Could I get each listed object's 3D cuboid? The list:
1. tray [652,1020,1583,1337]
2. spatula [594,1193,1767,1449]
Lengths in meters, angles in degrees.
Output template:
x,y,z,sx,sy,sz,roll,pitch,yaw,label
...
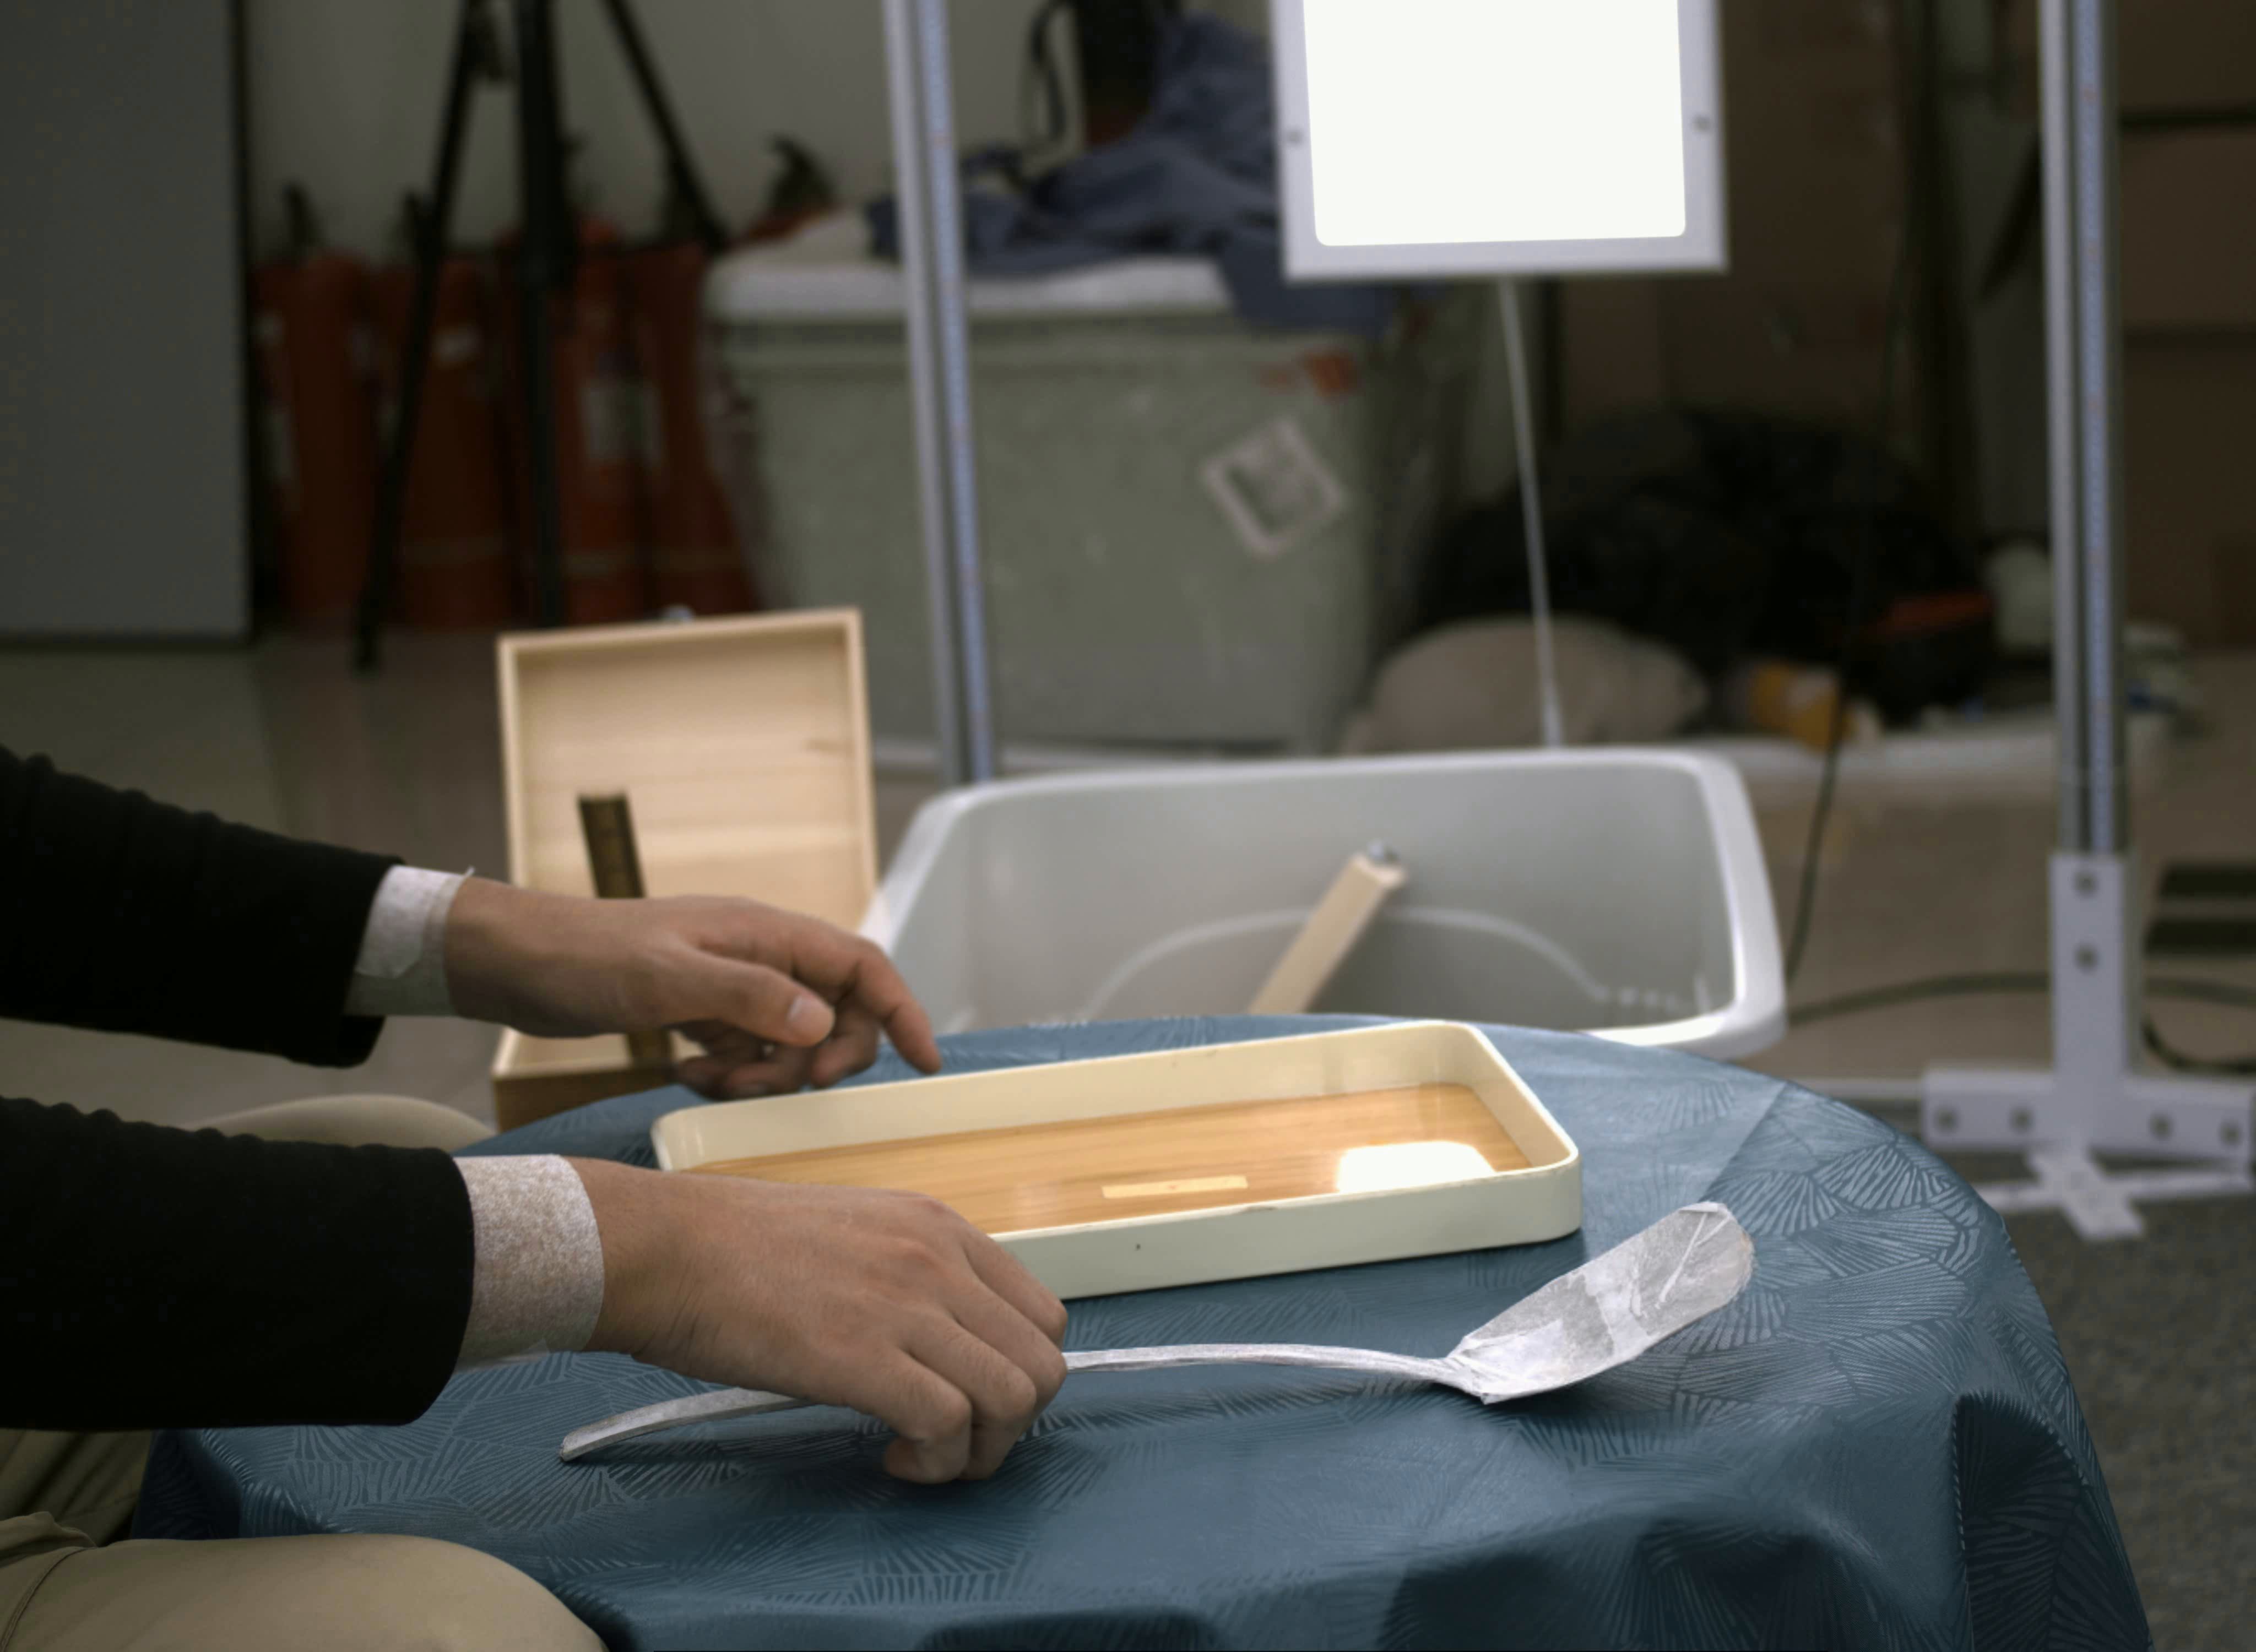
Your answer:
x,y,z,sx,sy,sz,roll,pitch,yaw,label
-0.008,0.118,1.879,0.298,0.027,0.192,-7,14,-5,tray
0.015,0.158,1.683,0.364,0.045,0.098,-4,14,2,spatula
